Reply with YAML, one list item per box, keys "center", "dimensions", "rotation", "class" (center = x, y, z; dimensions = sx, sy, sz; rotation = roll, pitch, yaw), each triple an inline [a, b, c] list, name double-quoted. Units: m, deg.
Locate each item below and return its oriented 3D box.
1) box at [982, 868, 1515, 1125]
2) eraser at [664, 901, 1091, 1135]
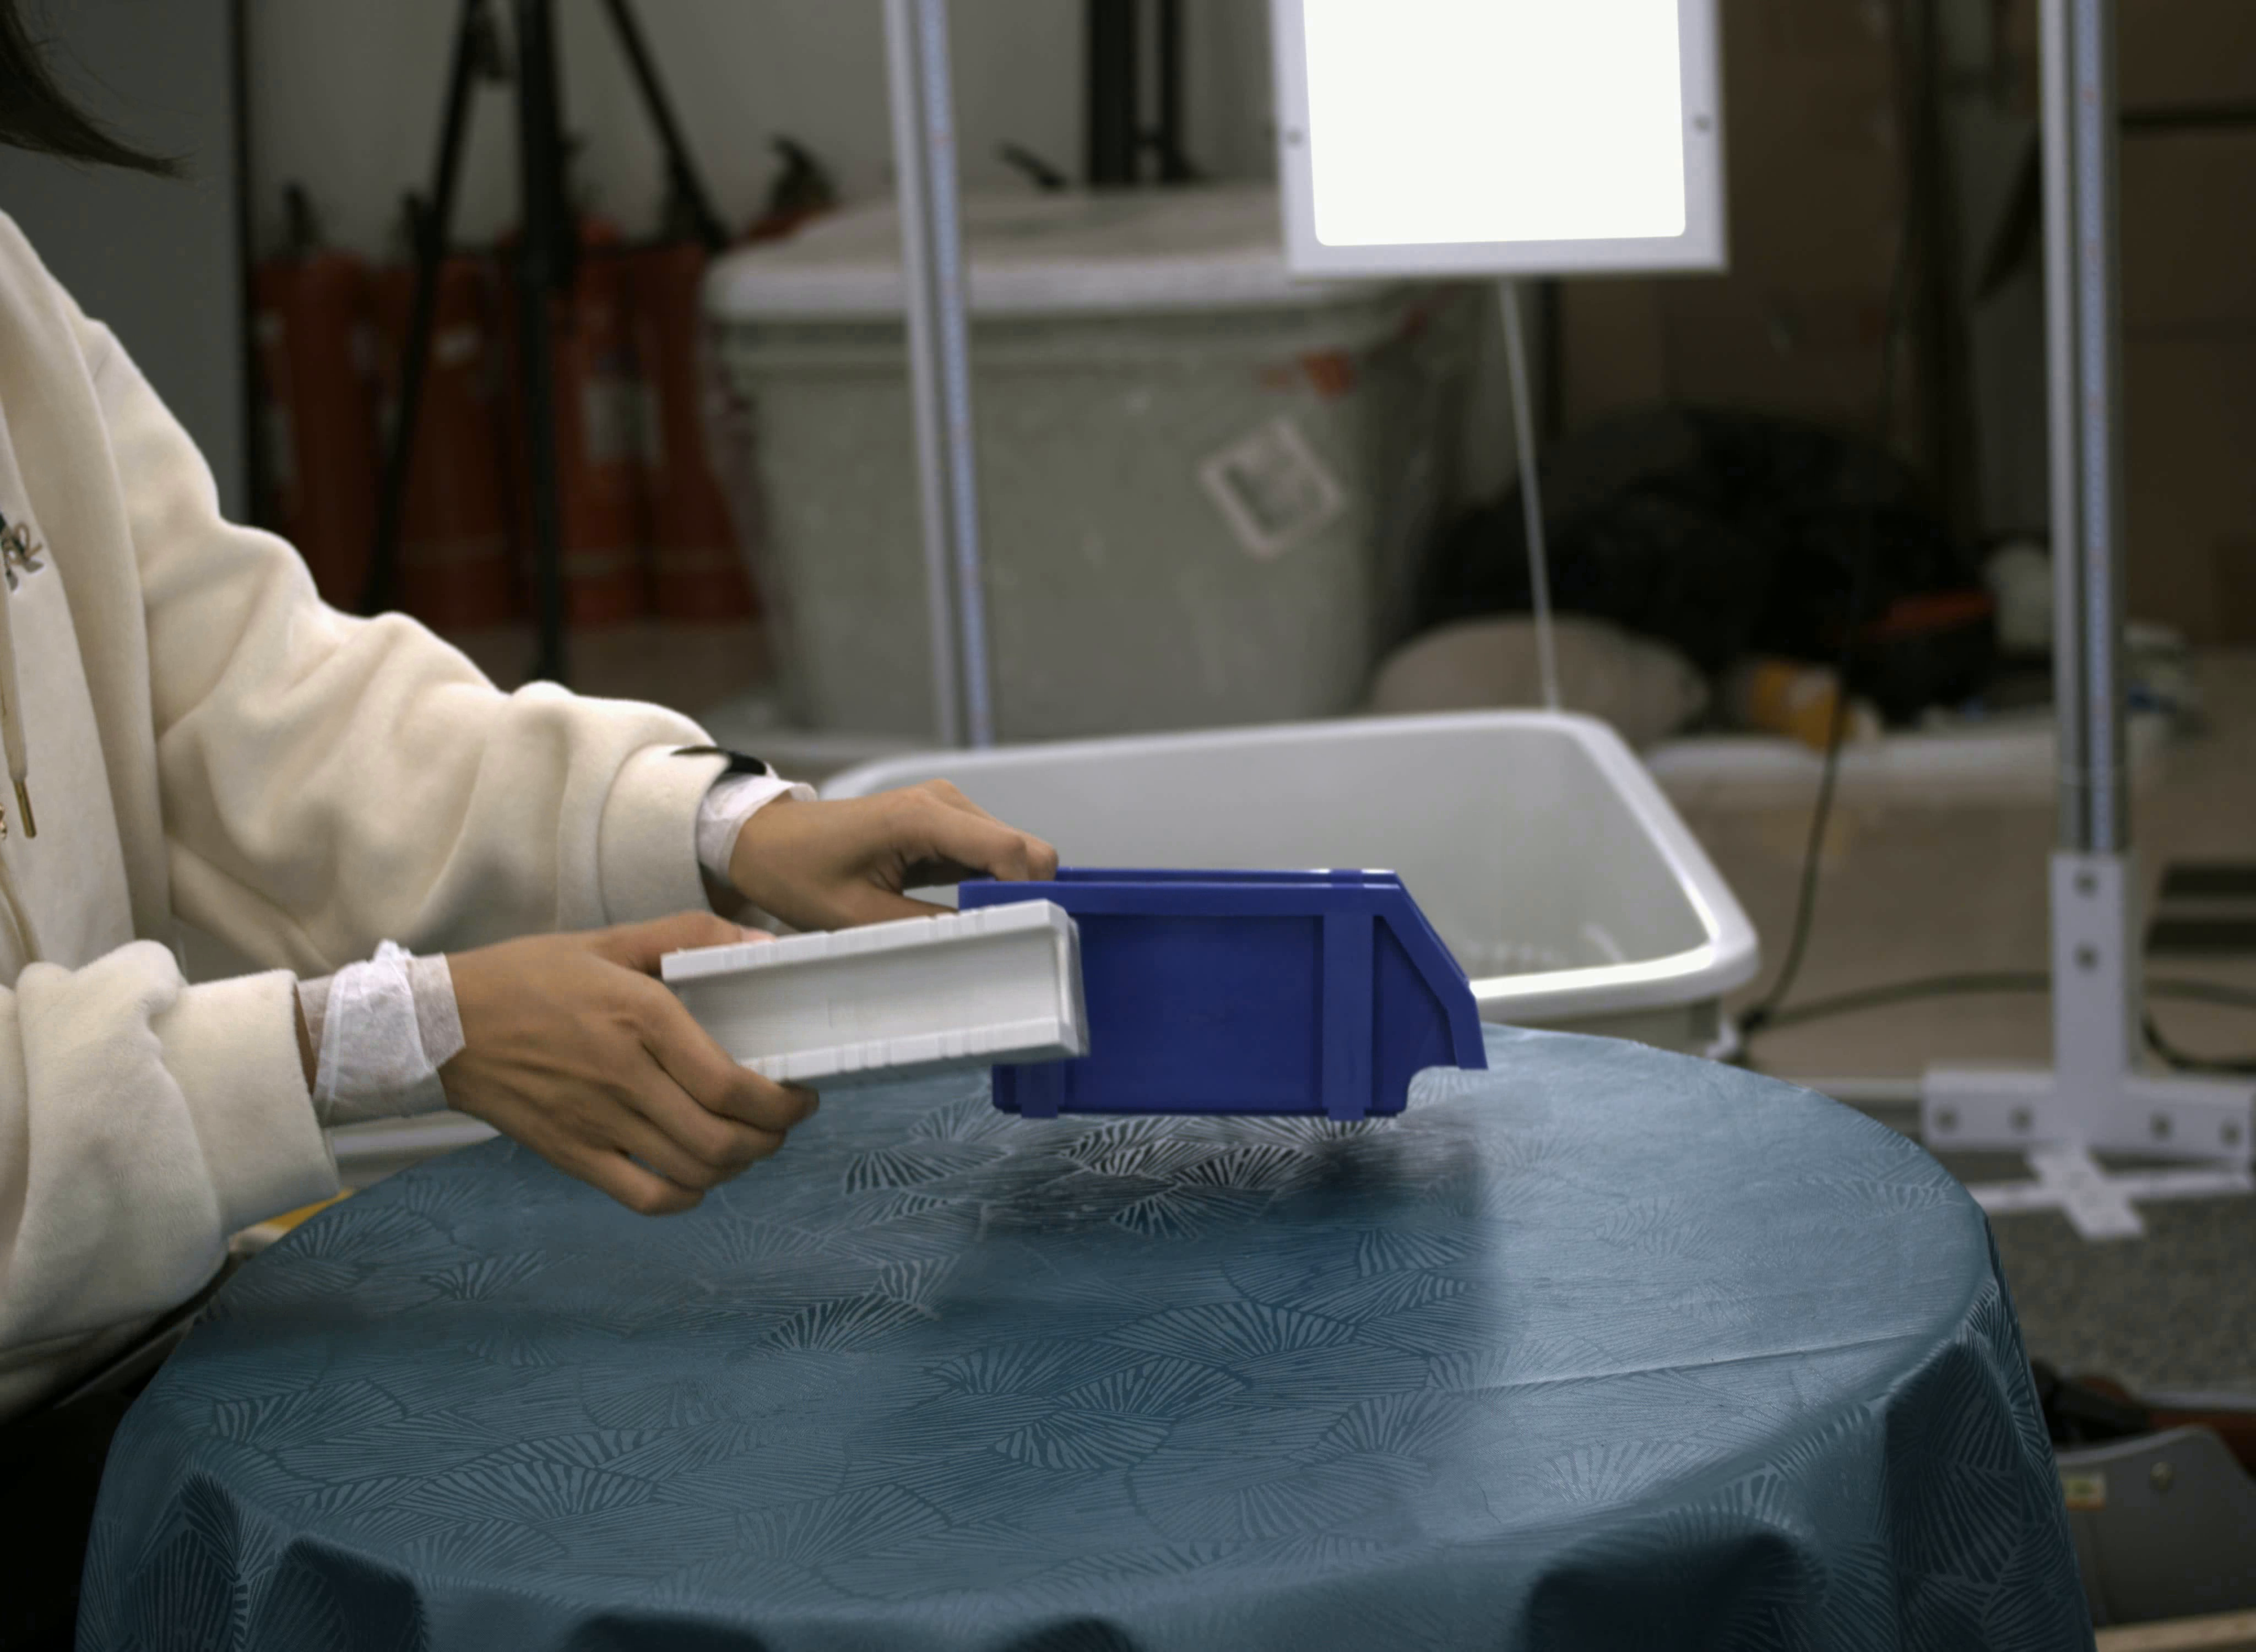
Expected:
- center: [0.045, 0.057, 1.910]
  dimensions: [0.180, 0.082, 0.124]
  rotation: [-2, 2, 5]
  class: "box"
- center: [-0.082, 0.064, 1.810]
  dimensions: [0.135, 0.050, 0.046]
  rotation: [-11, -15, 14]
  class: "eraser"
